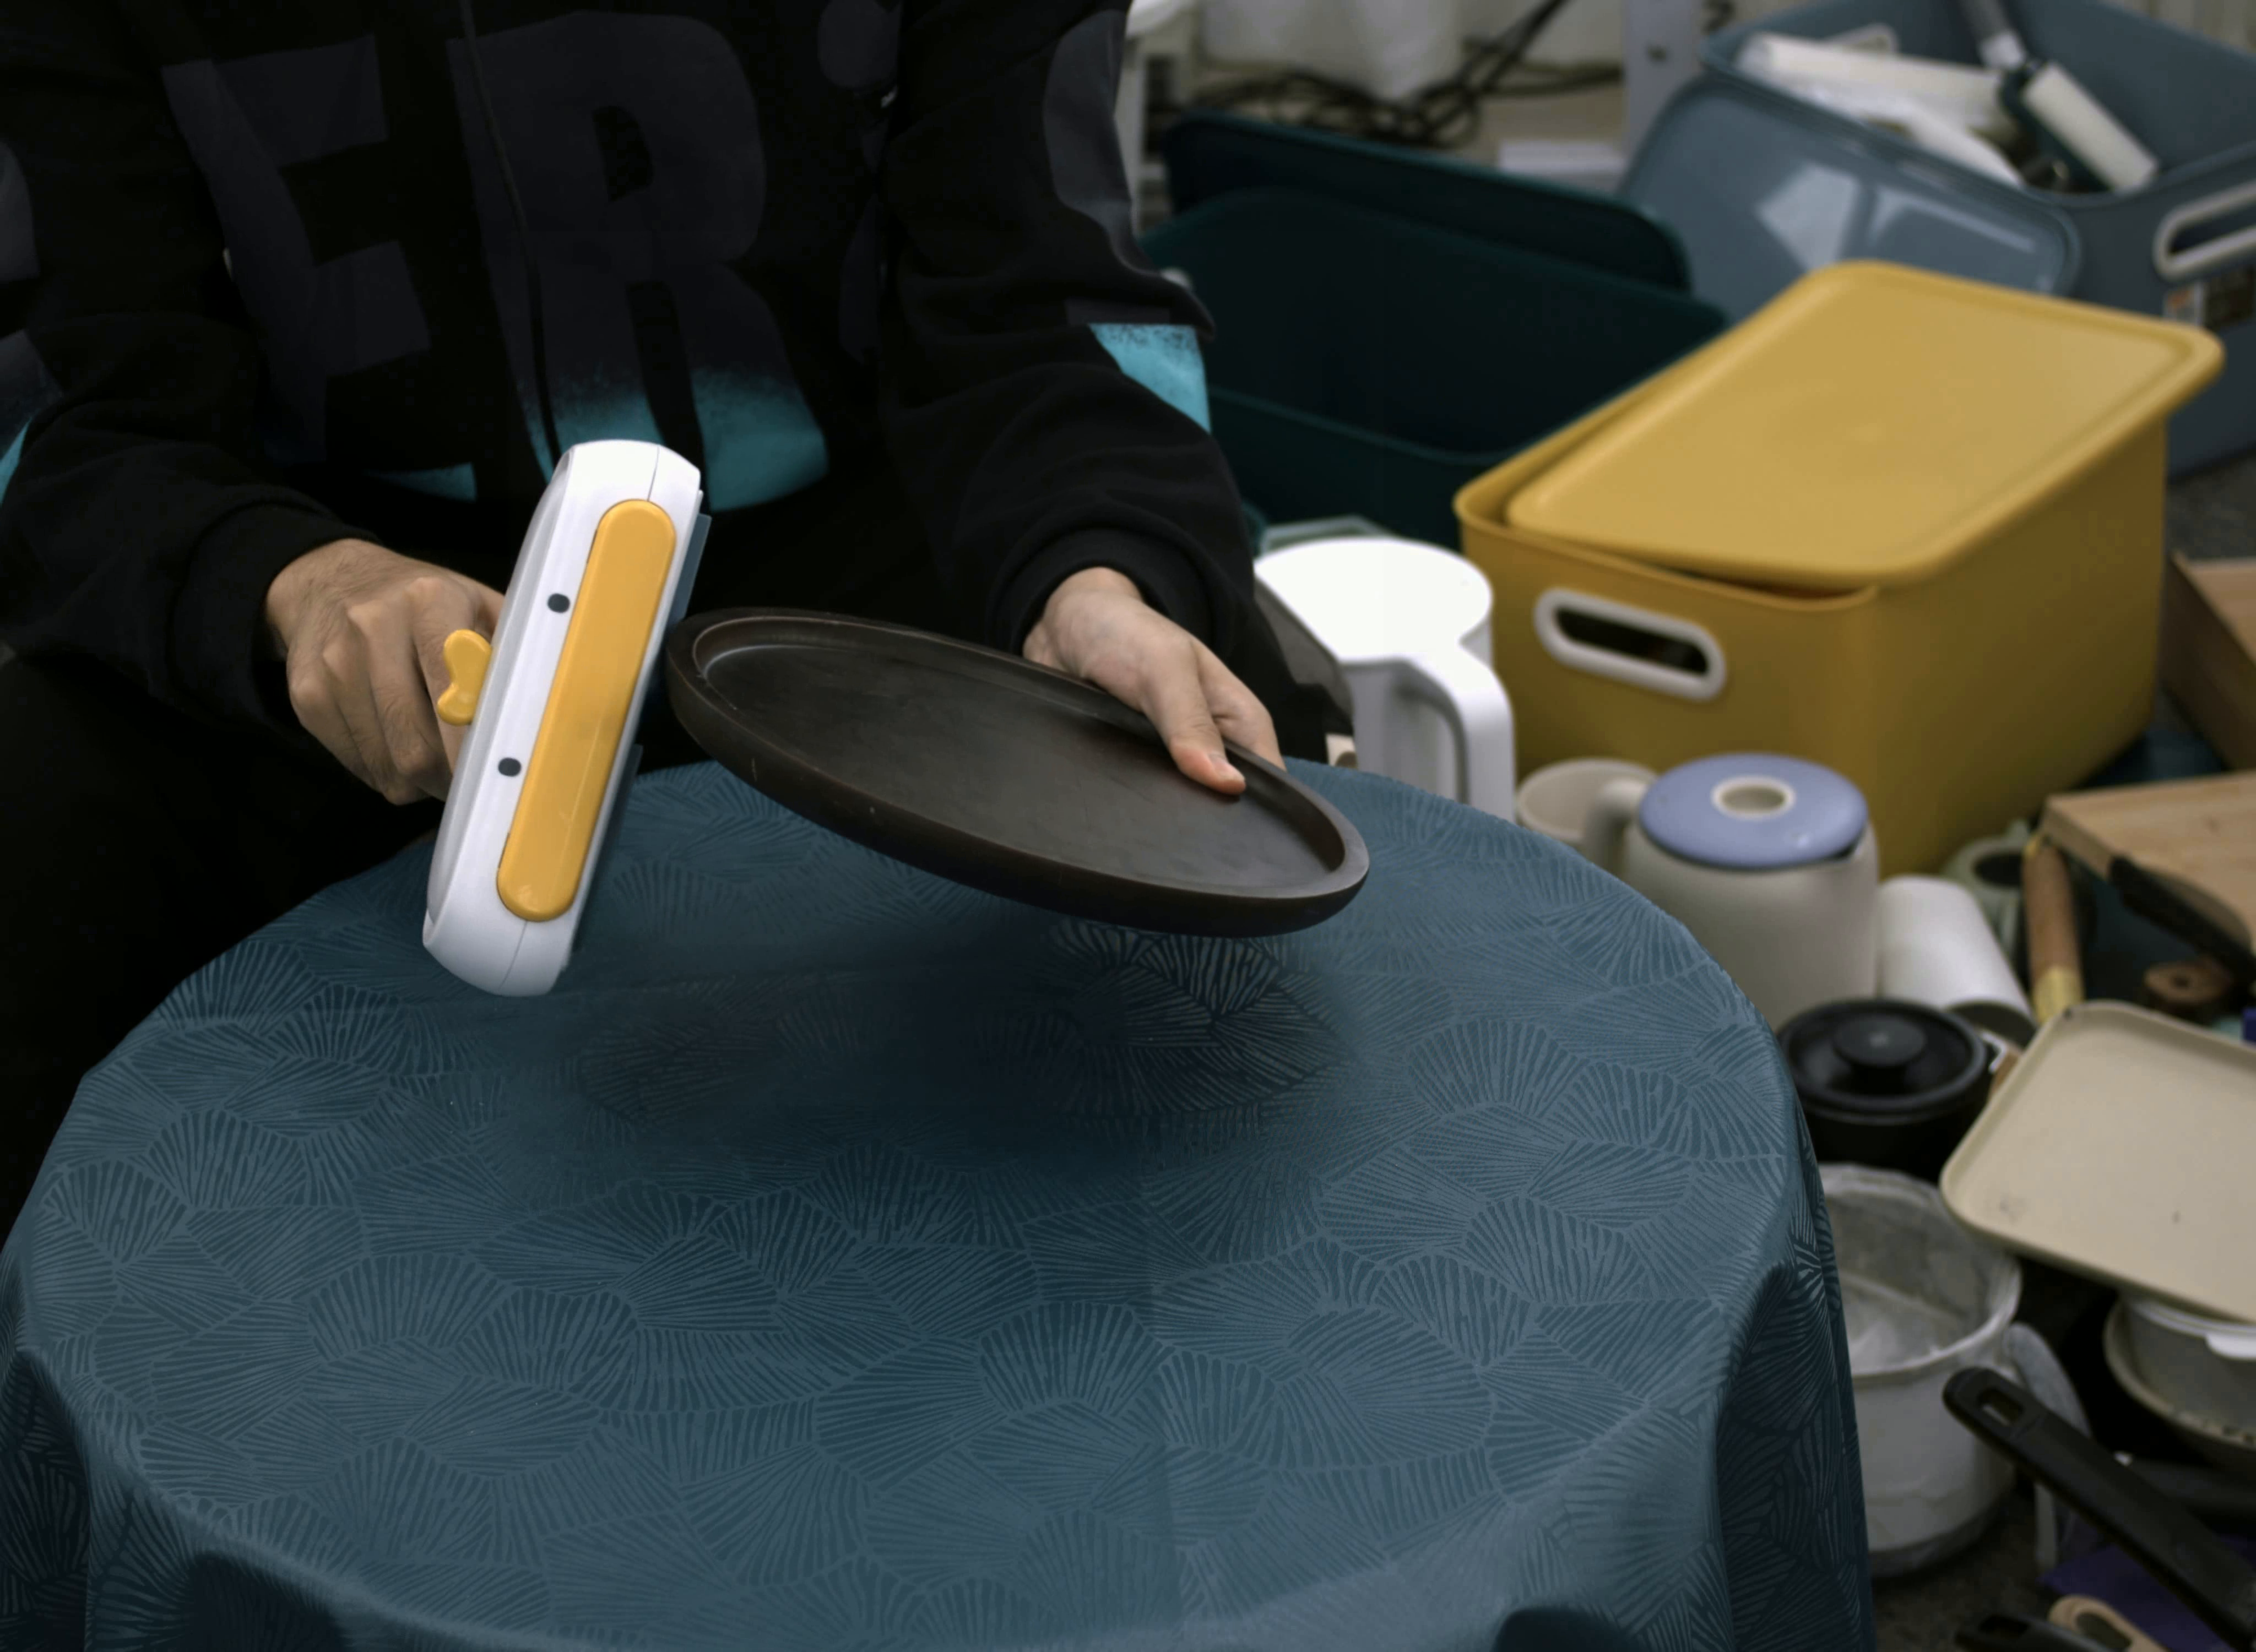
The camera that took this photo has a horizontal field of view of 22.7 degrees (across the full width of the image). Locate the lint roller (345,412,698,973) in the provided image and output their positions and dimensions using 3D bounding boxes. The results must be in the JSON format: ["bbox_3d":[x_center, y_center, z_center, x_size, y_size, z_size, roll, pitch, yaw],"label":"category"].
[{"bbox_3d":[-0.218,-0.041,1.941,0.074,0.195,0.190,14,-12,-21],"label":"lint roller"}]

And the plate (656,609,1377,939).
[{"bbox_3d":[-0.040,-0.018,1.913,0.254,0.029,0.257,17,14,-3],"label":"plate"}]
